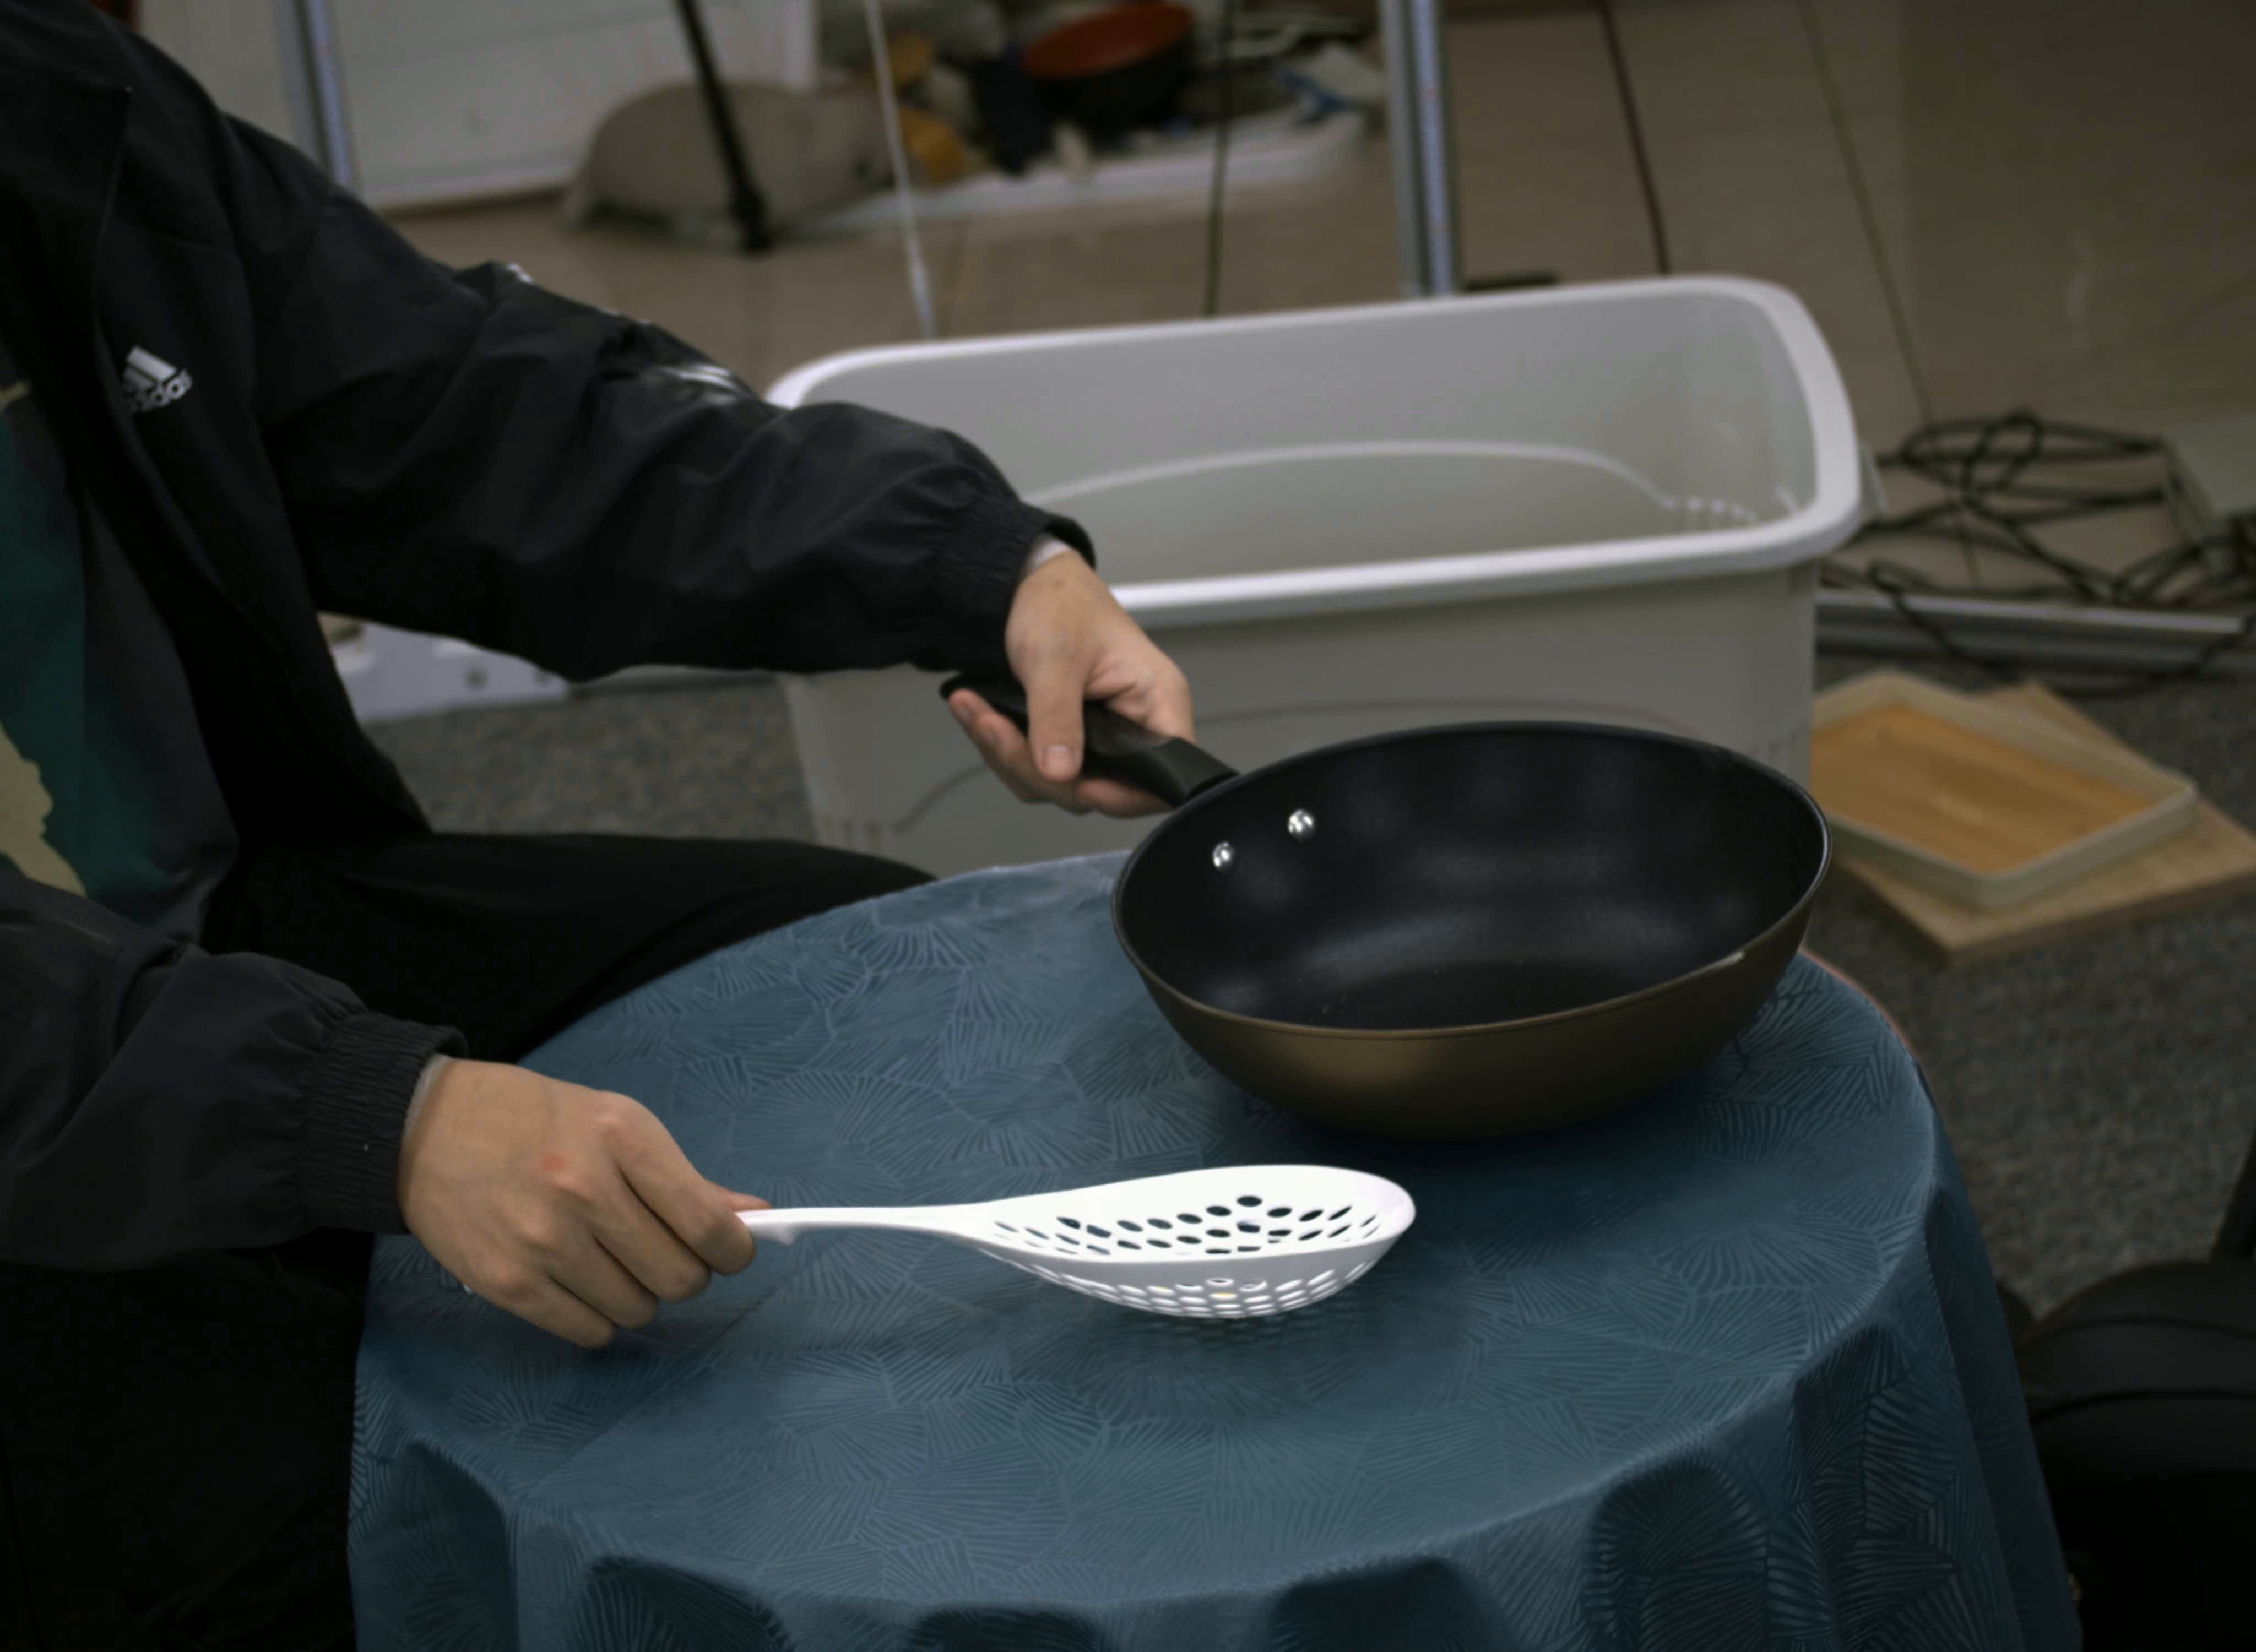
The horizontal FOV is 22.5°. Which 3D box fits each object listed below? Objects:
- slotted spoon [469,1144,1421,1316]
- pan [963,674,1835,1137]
[{"bbox_3d":[-0.067,0.153,2.058,0.347,0.051,0.136,1,12,5],"label":"slotted spoon"},{"bbox_3d":[0.078,0.028,2.269,0.286,0.088,0.459,-24,28,-33],"label":"pan"}]
